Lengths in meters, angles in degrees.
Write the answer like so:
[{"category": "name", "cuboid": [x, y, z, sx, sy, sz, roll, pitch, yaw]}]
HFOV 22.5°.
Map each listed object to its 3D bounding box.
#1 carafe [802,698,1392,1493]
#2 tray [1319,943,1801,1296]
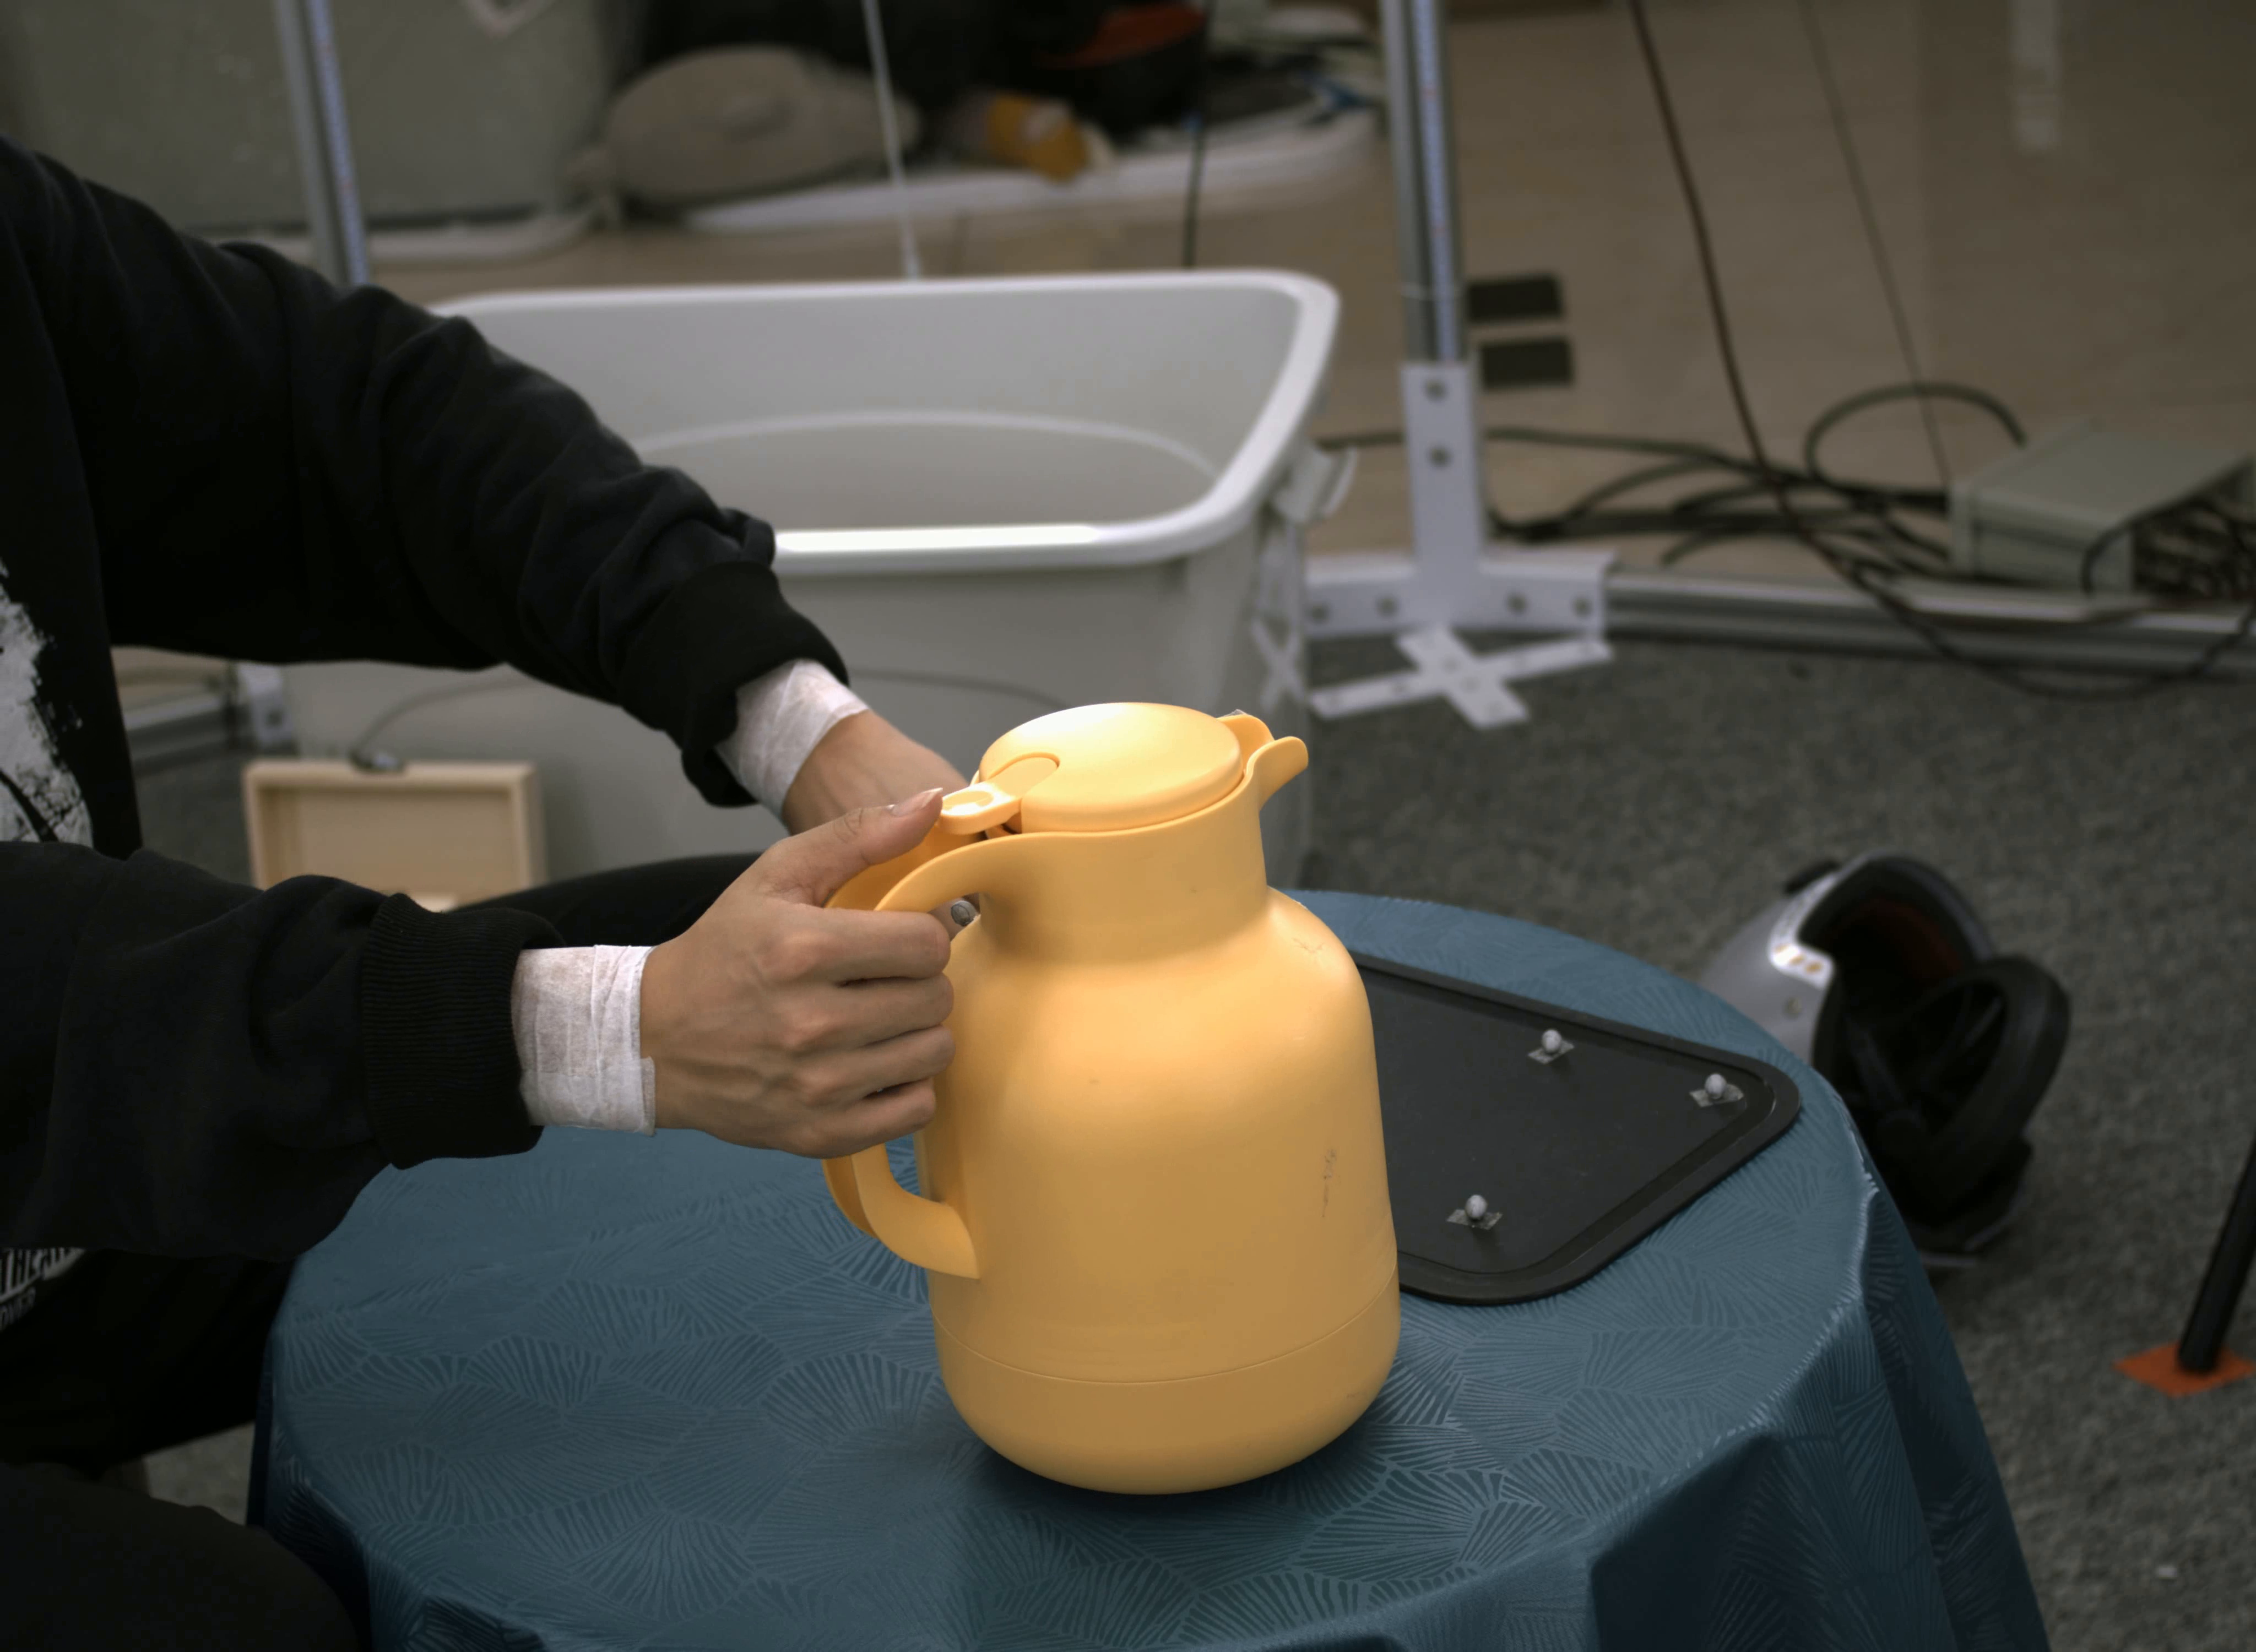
[{"category": "carafe", "cuboid": [-0.014, 0.092, 1.934, 0.201, 0.264, 0.162, -16, 24, -26]}, {"category": "tray", "cuboid": [0.084, 0.105, 2.193, 0.323, 0.010, 0.209, 15, 32, 39]}]
